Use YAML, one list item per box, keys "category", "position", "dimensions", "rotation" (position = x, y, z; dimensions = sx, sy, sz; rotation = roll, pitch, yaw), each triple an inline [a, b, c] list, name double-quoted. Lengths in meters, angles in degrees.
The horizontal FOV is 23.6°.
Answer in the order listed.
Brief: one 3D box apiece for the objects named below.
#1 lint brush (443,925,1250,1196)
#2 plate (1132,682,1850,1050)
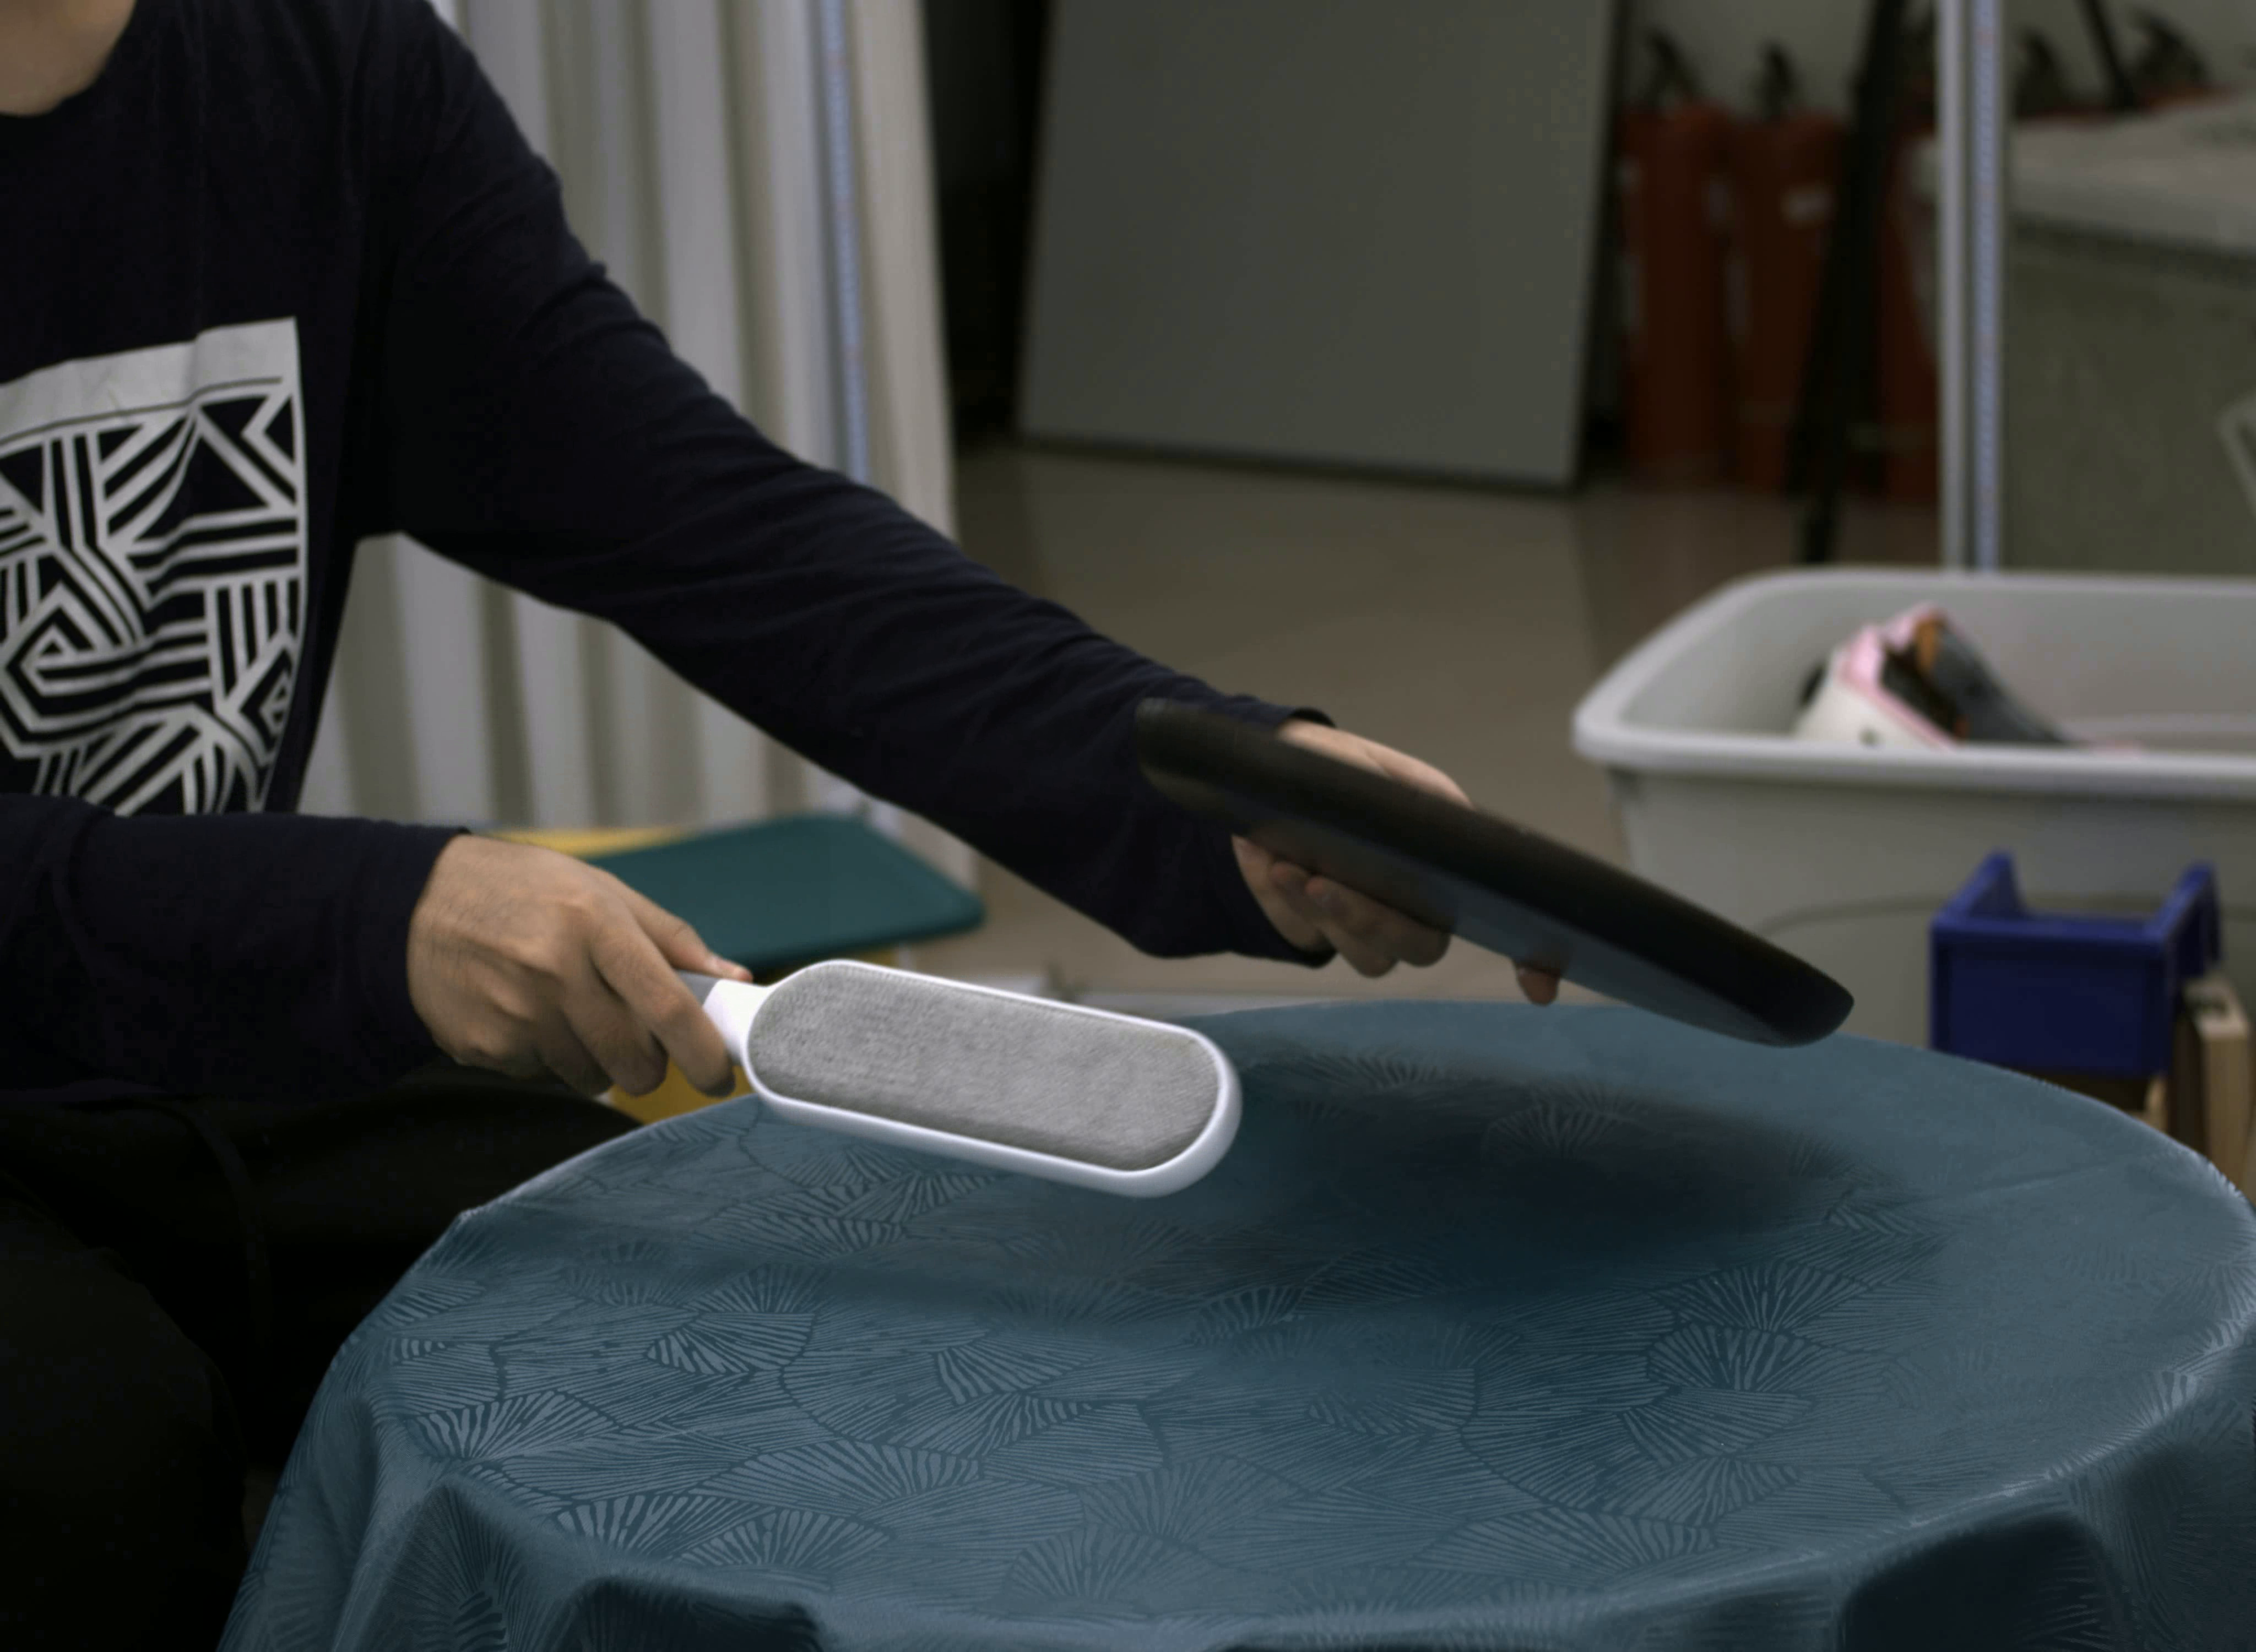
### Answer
- category: "lint brush"
  position: [-0.096, 0.067, 1.732]
  dimensions: [0.310, 0.060, 0.020]
  rotation: [10, -22, 32]
- category: "plate"
  position: [0.114, 0.014, 1.741]
  dimensions: [0.253, 0.029, 0.255]
  rotation: [25, -7, 2]
